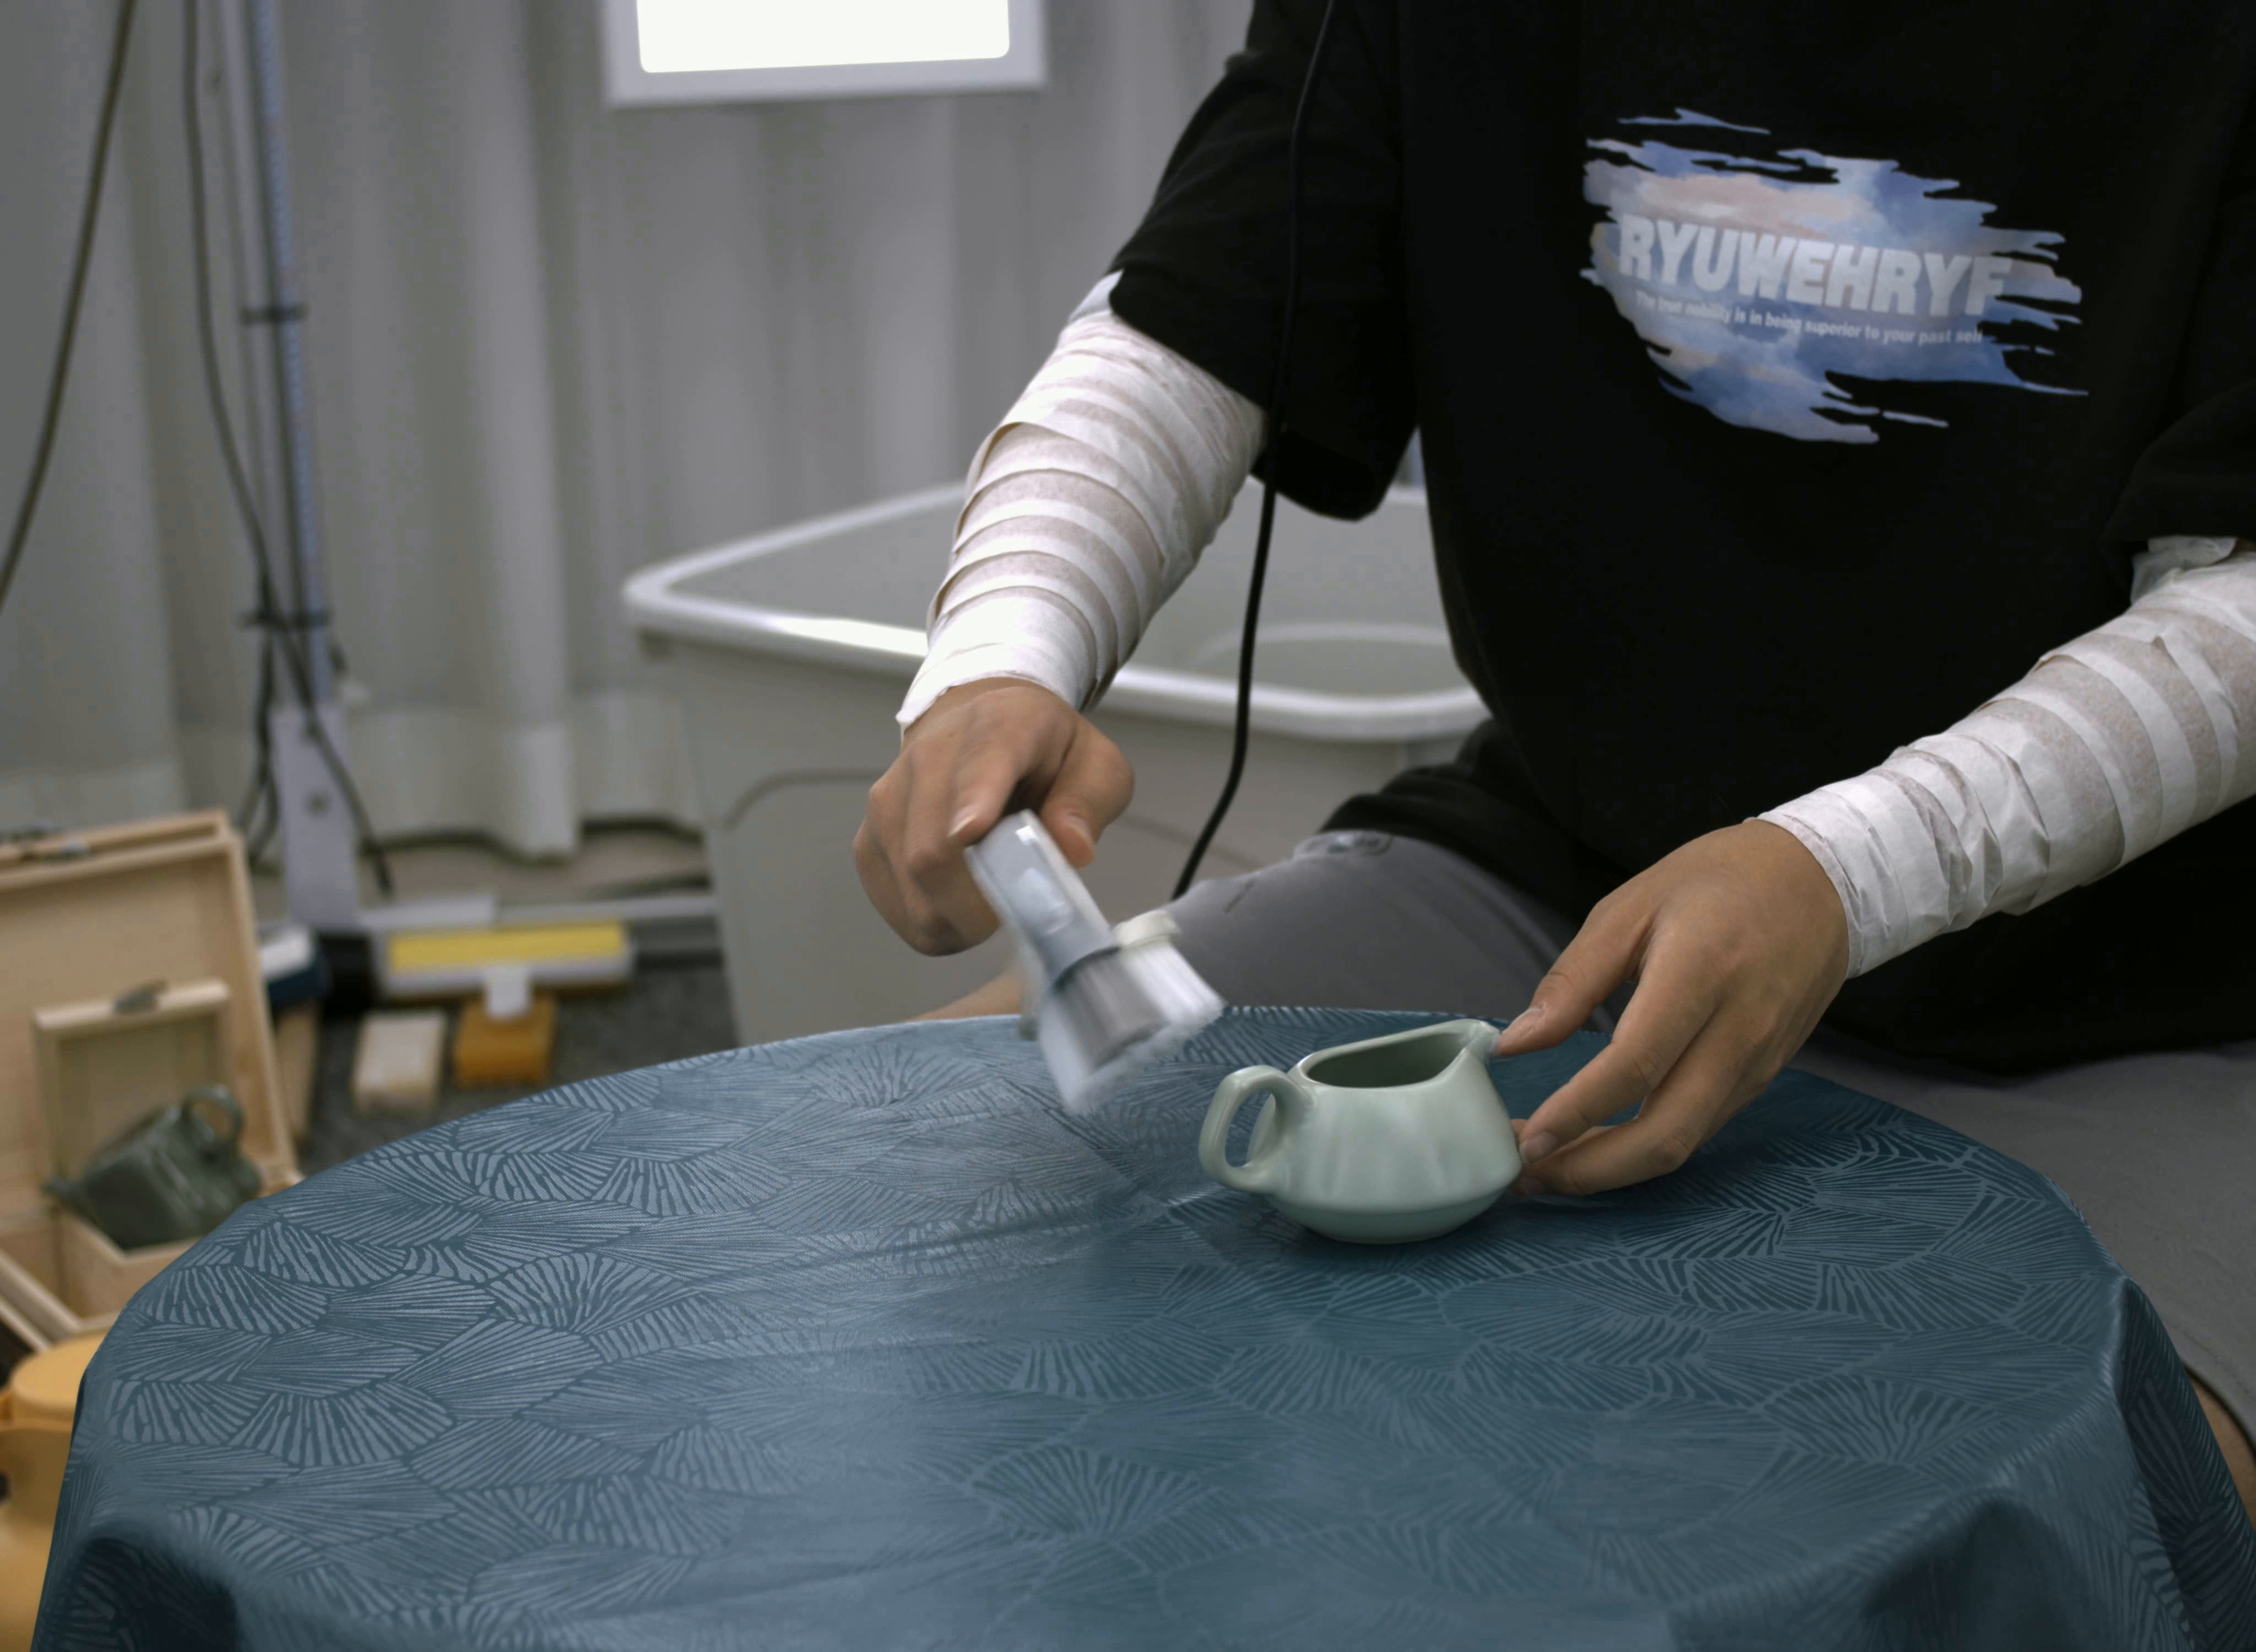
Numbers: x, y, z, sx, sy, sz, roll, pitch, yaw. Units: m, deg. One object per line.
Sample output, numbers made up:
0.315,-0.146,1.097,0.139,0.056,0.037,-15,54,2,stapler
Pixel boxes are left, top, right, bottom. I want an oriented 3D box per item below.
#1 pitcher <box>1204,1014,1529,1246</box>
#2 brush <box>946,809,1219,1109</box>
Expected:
0.070,0.096,1.661,0.107,0.060,0.086,-15,18,-33,pitcher
-0.020,0.034,1.681,0.061,0.094,0.175,-38,-4,2,brush
